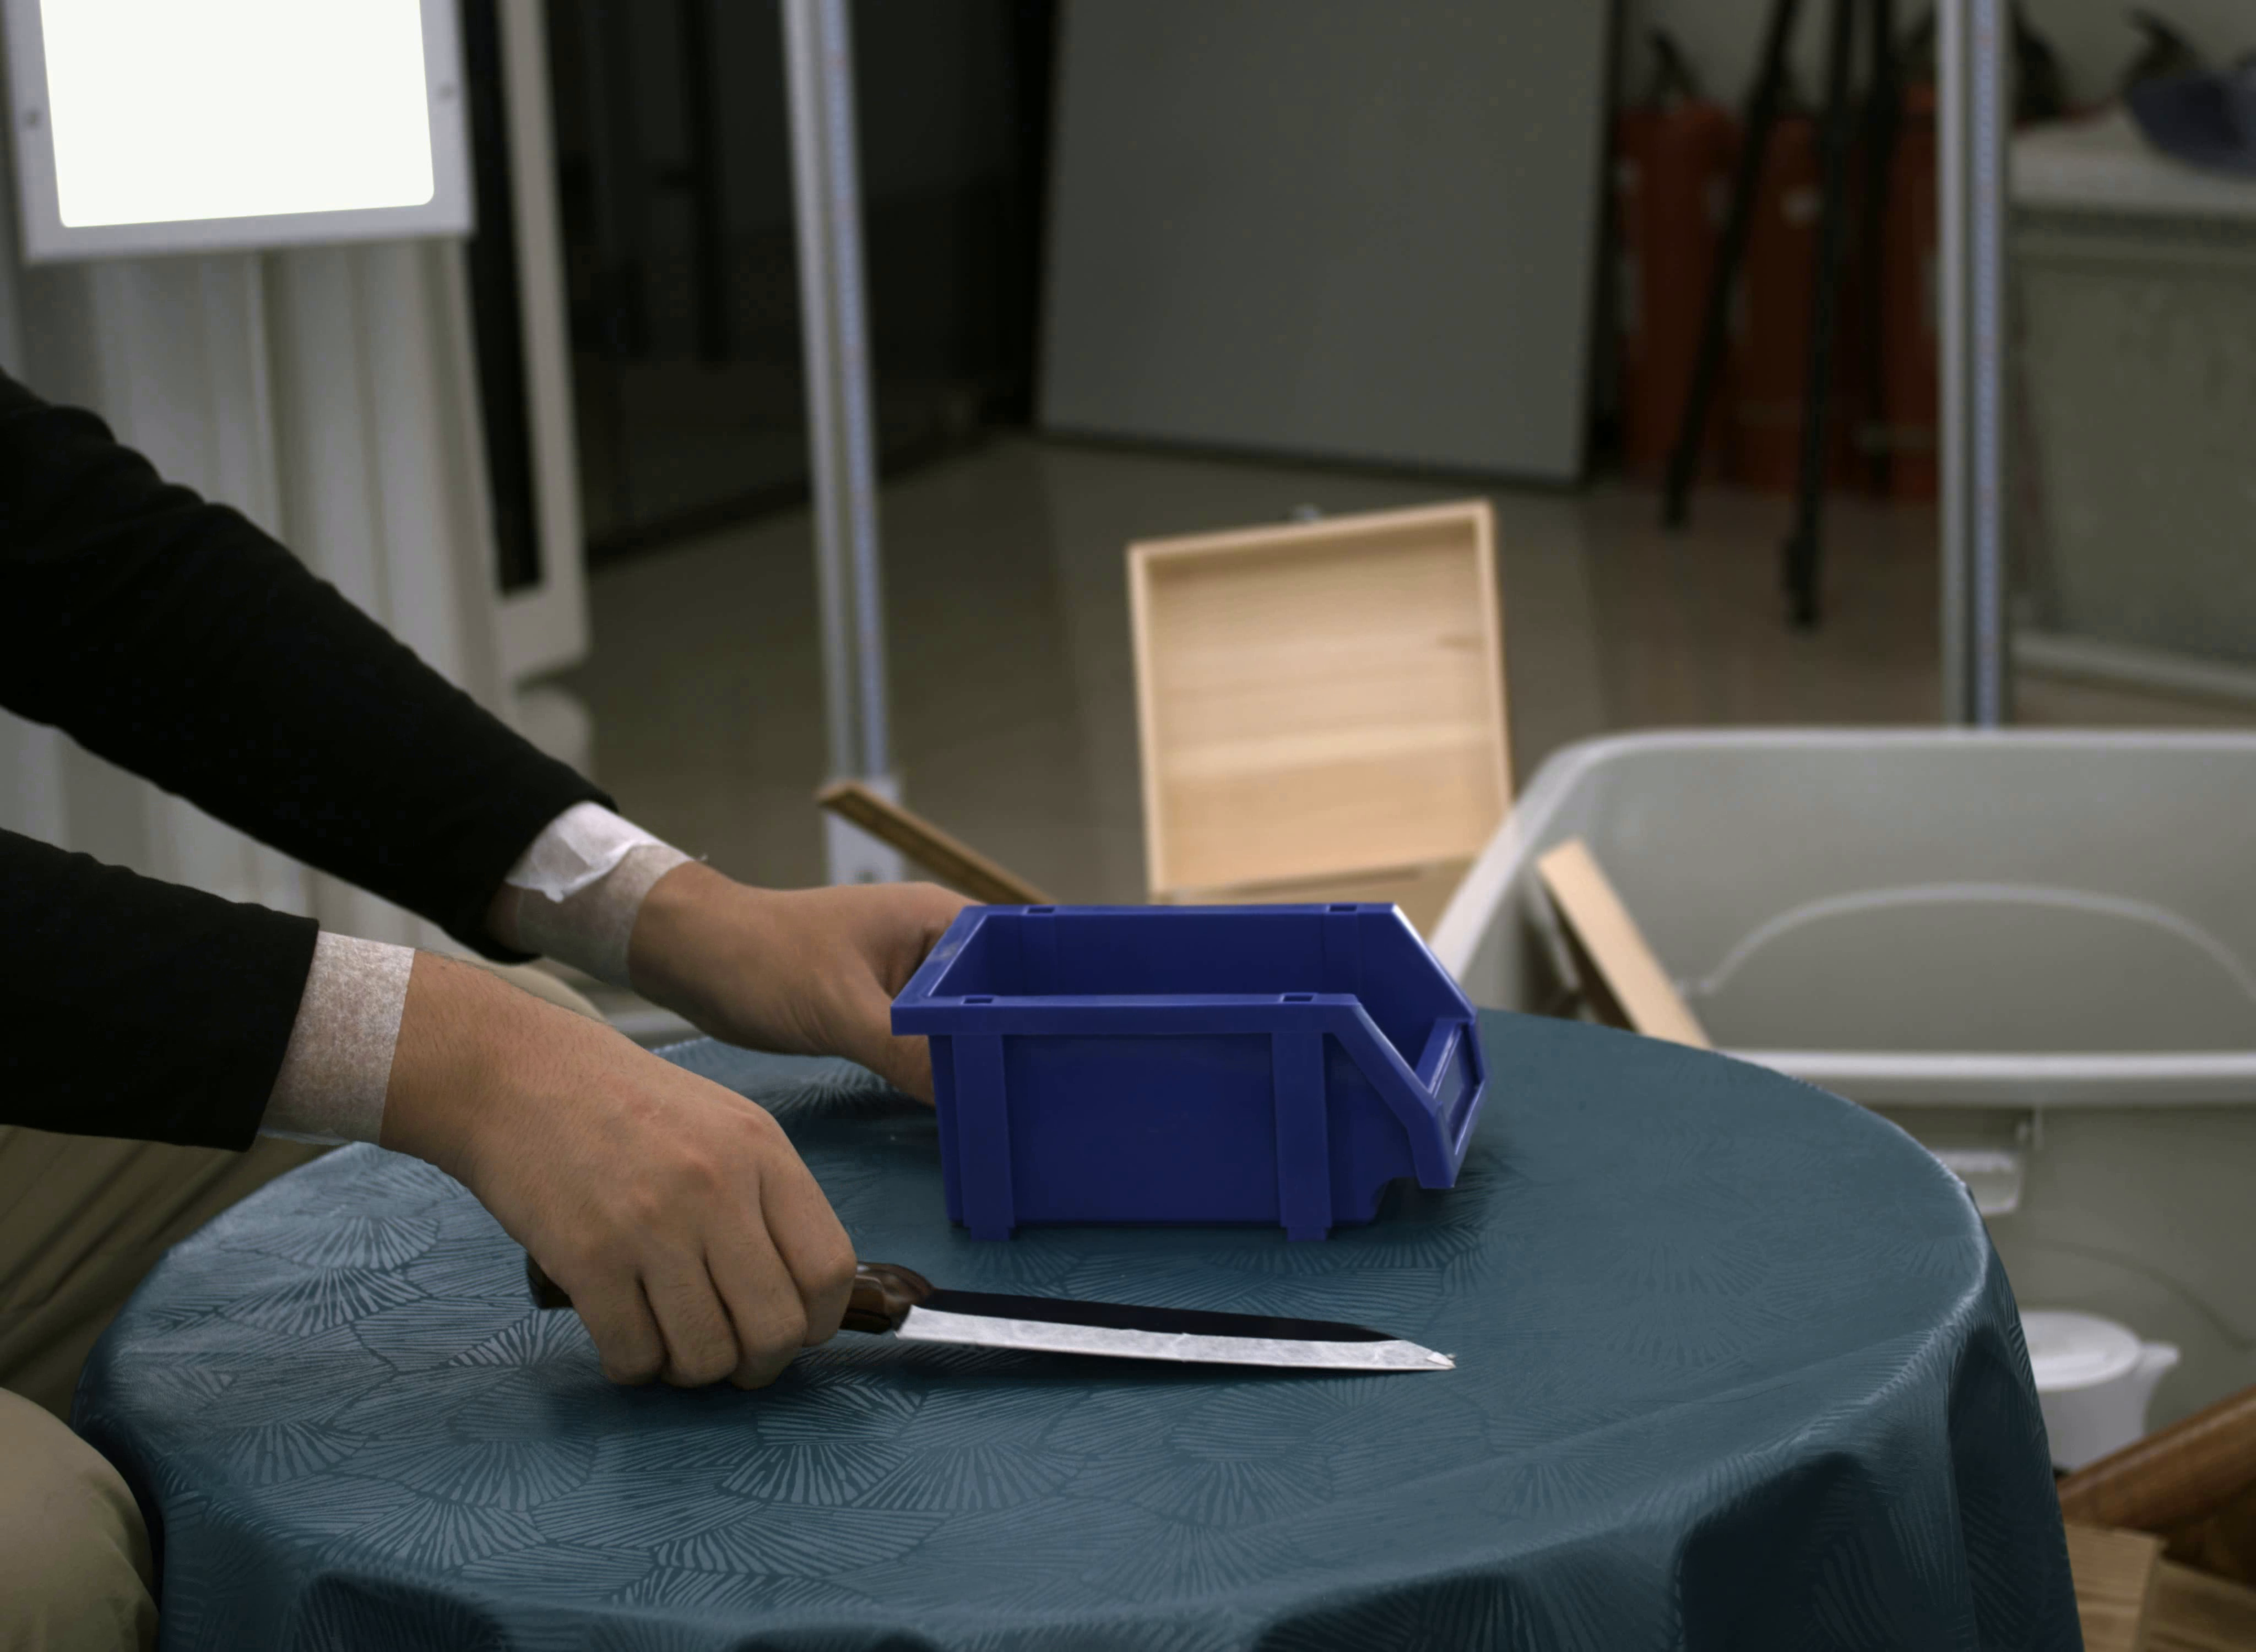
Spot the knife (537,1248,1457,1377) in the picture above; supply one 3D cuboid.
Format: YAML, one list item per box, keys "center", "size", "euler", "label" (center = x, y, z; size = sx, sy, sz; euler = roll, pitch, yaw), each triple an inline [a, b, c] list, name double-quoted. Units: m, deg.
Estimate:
- center: [-0.042, 0.149, 1.618]
  size: [0.287, 0.020, 0.050]
  euler: [4, 19, 13]
  label: "knife"

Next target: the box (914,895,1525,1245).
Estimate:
- center: [0.034, 0.078, 1.763]
  size: [0.178, 0.083, 0.124]
  euler: [-3, 13, 14]
  label: "box"
